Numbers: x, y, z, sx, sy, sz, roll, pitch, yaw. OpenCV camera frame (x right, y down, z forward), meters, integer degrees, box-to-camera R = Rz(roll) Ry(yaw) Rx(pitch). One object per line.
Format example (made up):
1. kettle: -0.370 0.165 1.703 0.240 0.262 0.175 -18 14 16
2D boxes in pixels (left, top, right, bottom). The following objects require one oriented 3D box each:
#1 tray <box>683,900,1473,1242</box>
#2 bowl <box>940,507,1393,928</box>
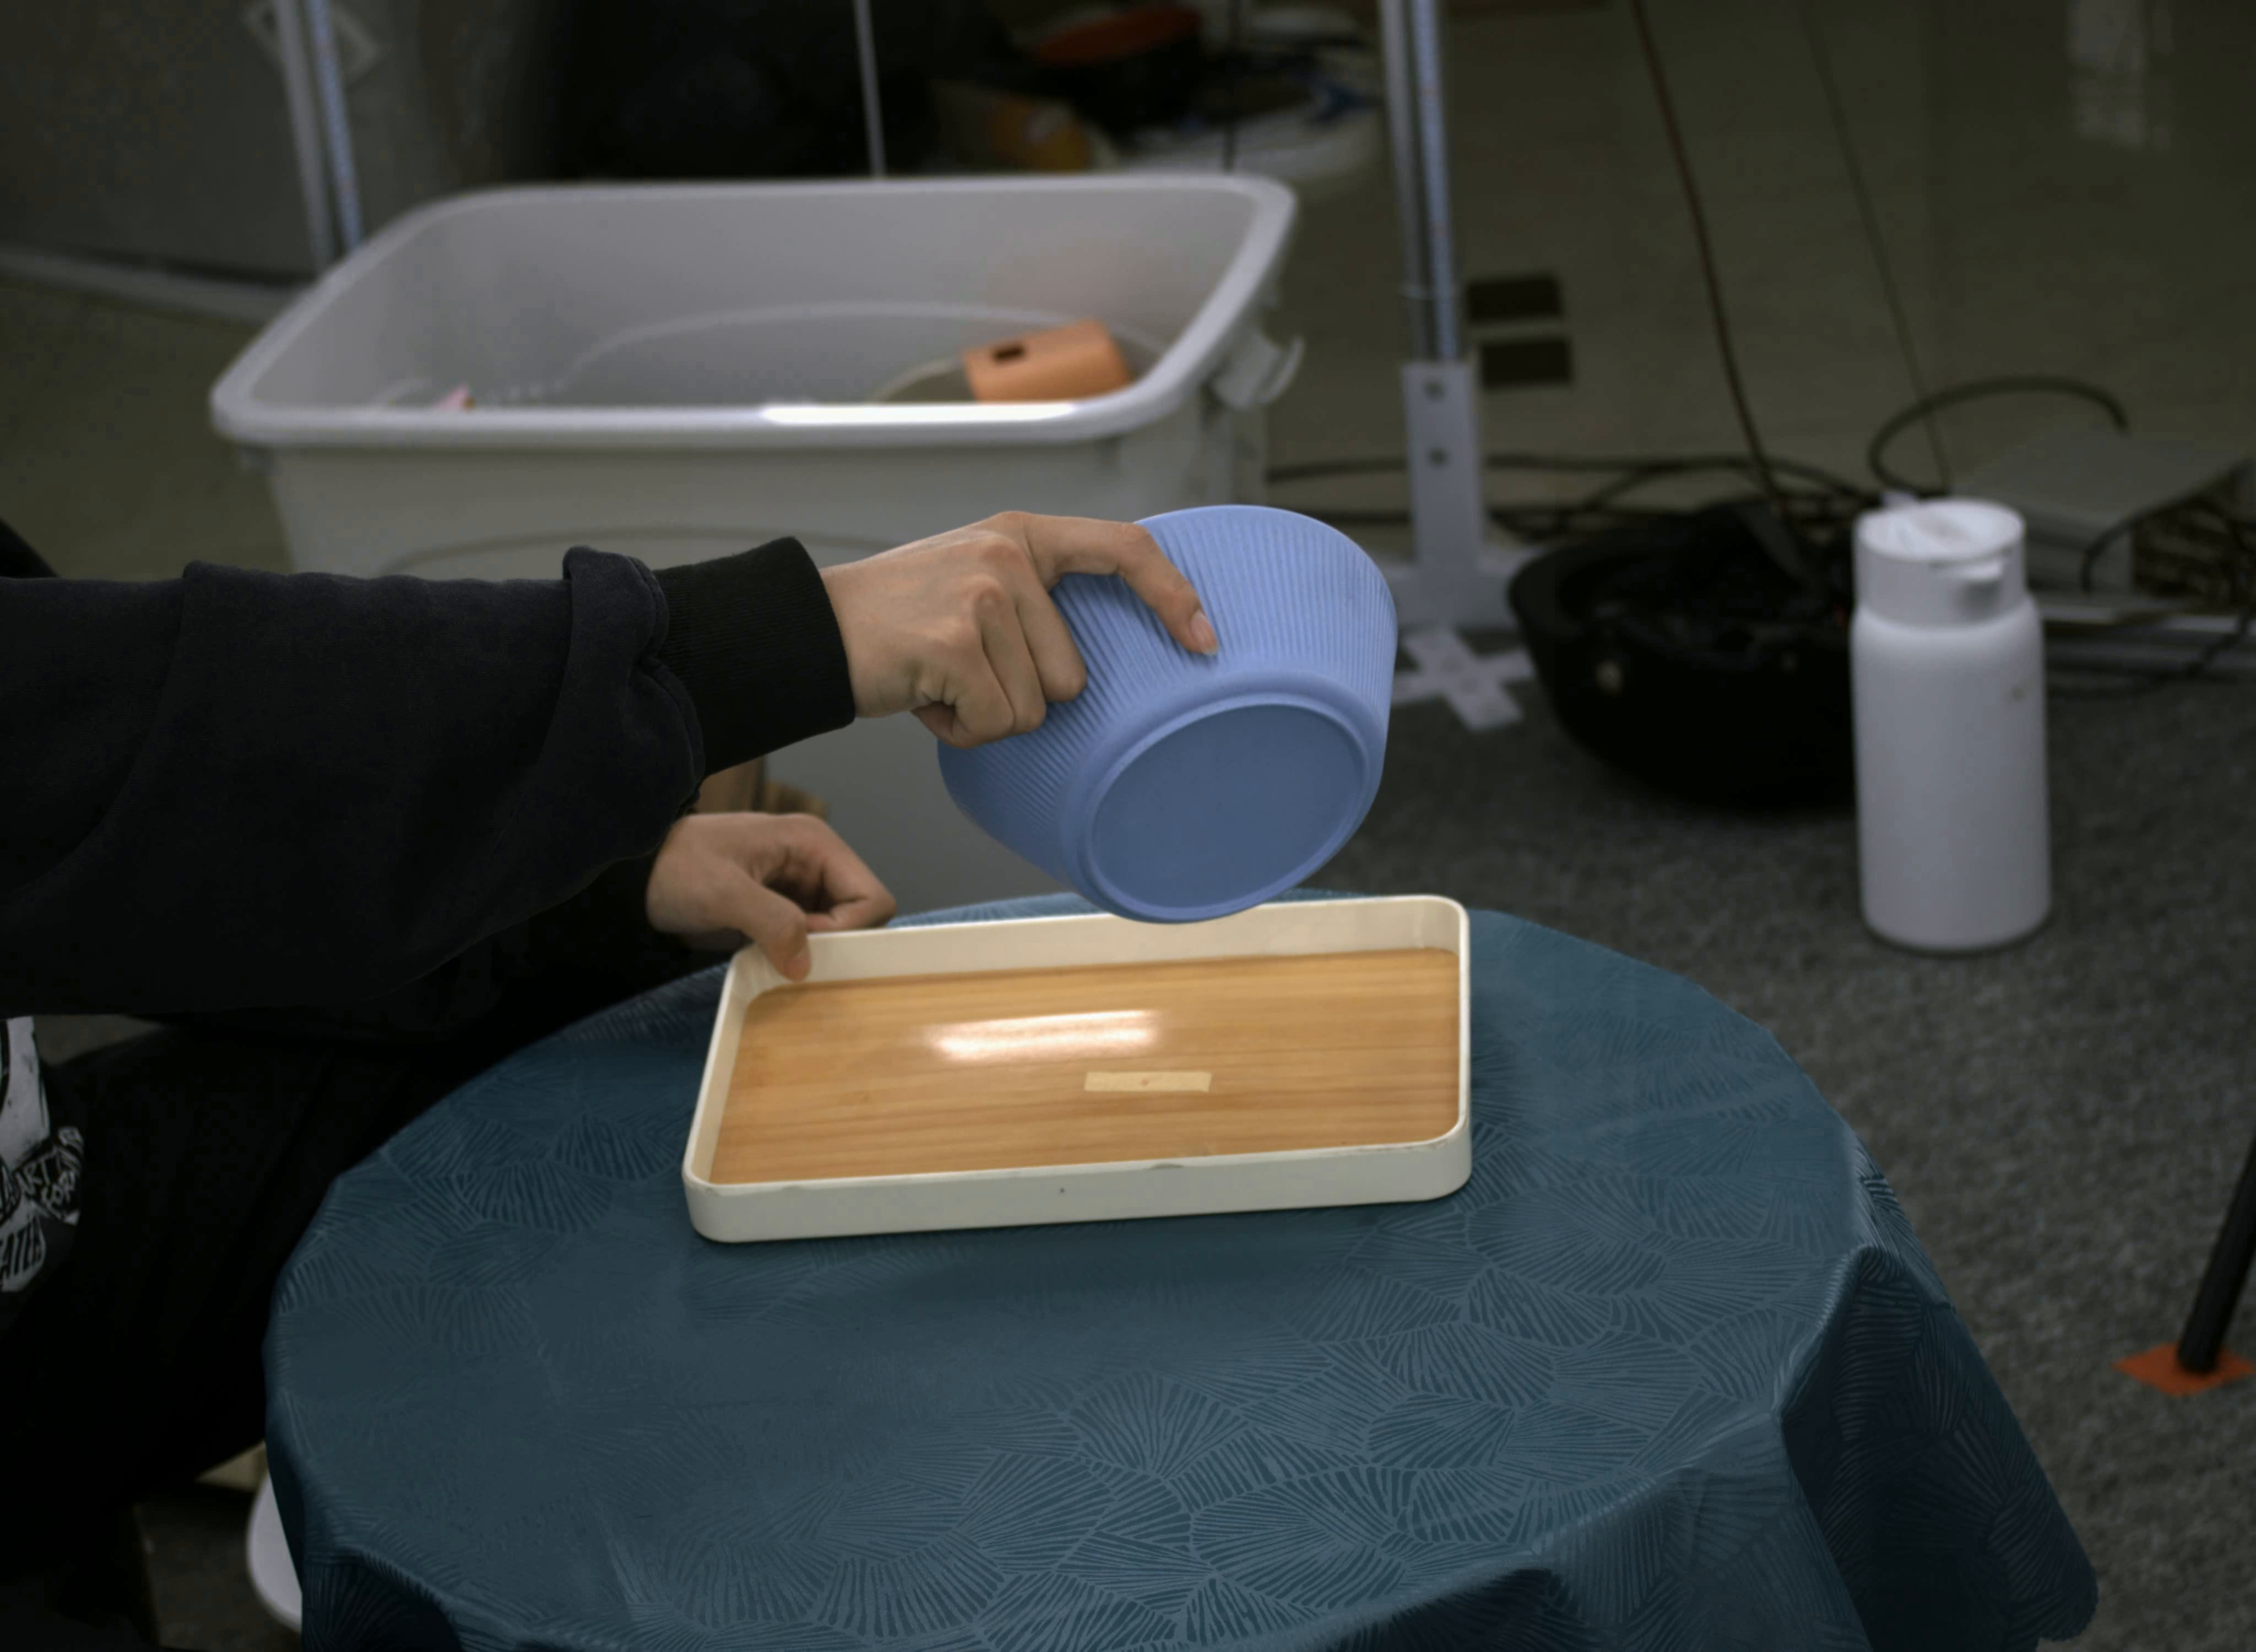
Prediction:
1. tray: -0.016 0.094 2.206 0.300 0.028 0.188 -4 29 6
2. bowl: 0.024 -0.027 2.036 0.175 0.179 0.069 -12 47 -14
